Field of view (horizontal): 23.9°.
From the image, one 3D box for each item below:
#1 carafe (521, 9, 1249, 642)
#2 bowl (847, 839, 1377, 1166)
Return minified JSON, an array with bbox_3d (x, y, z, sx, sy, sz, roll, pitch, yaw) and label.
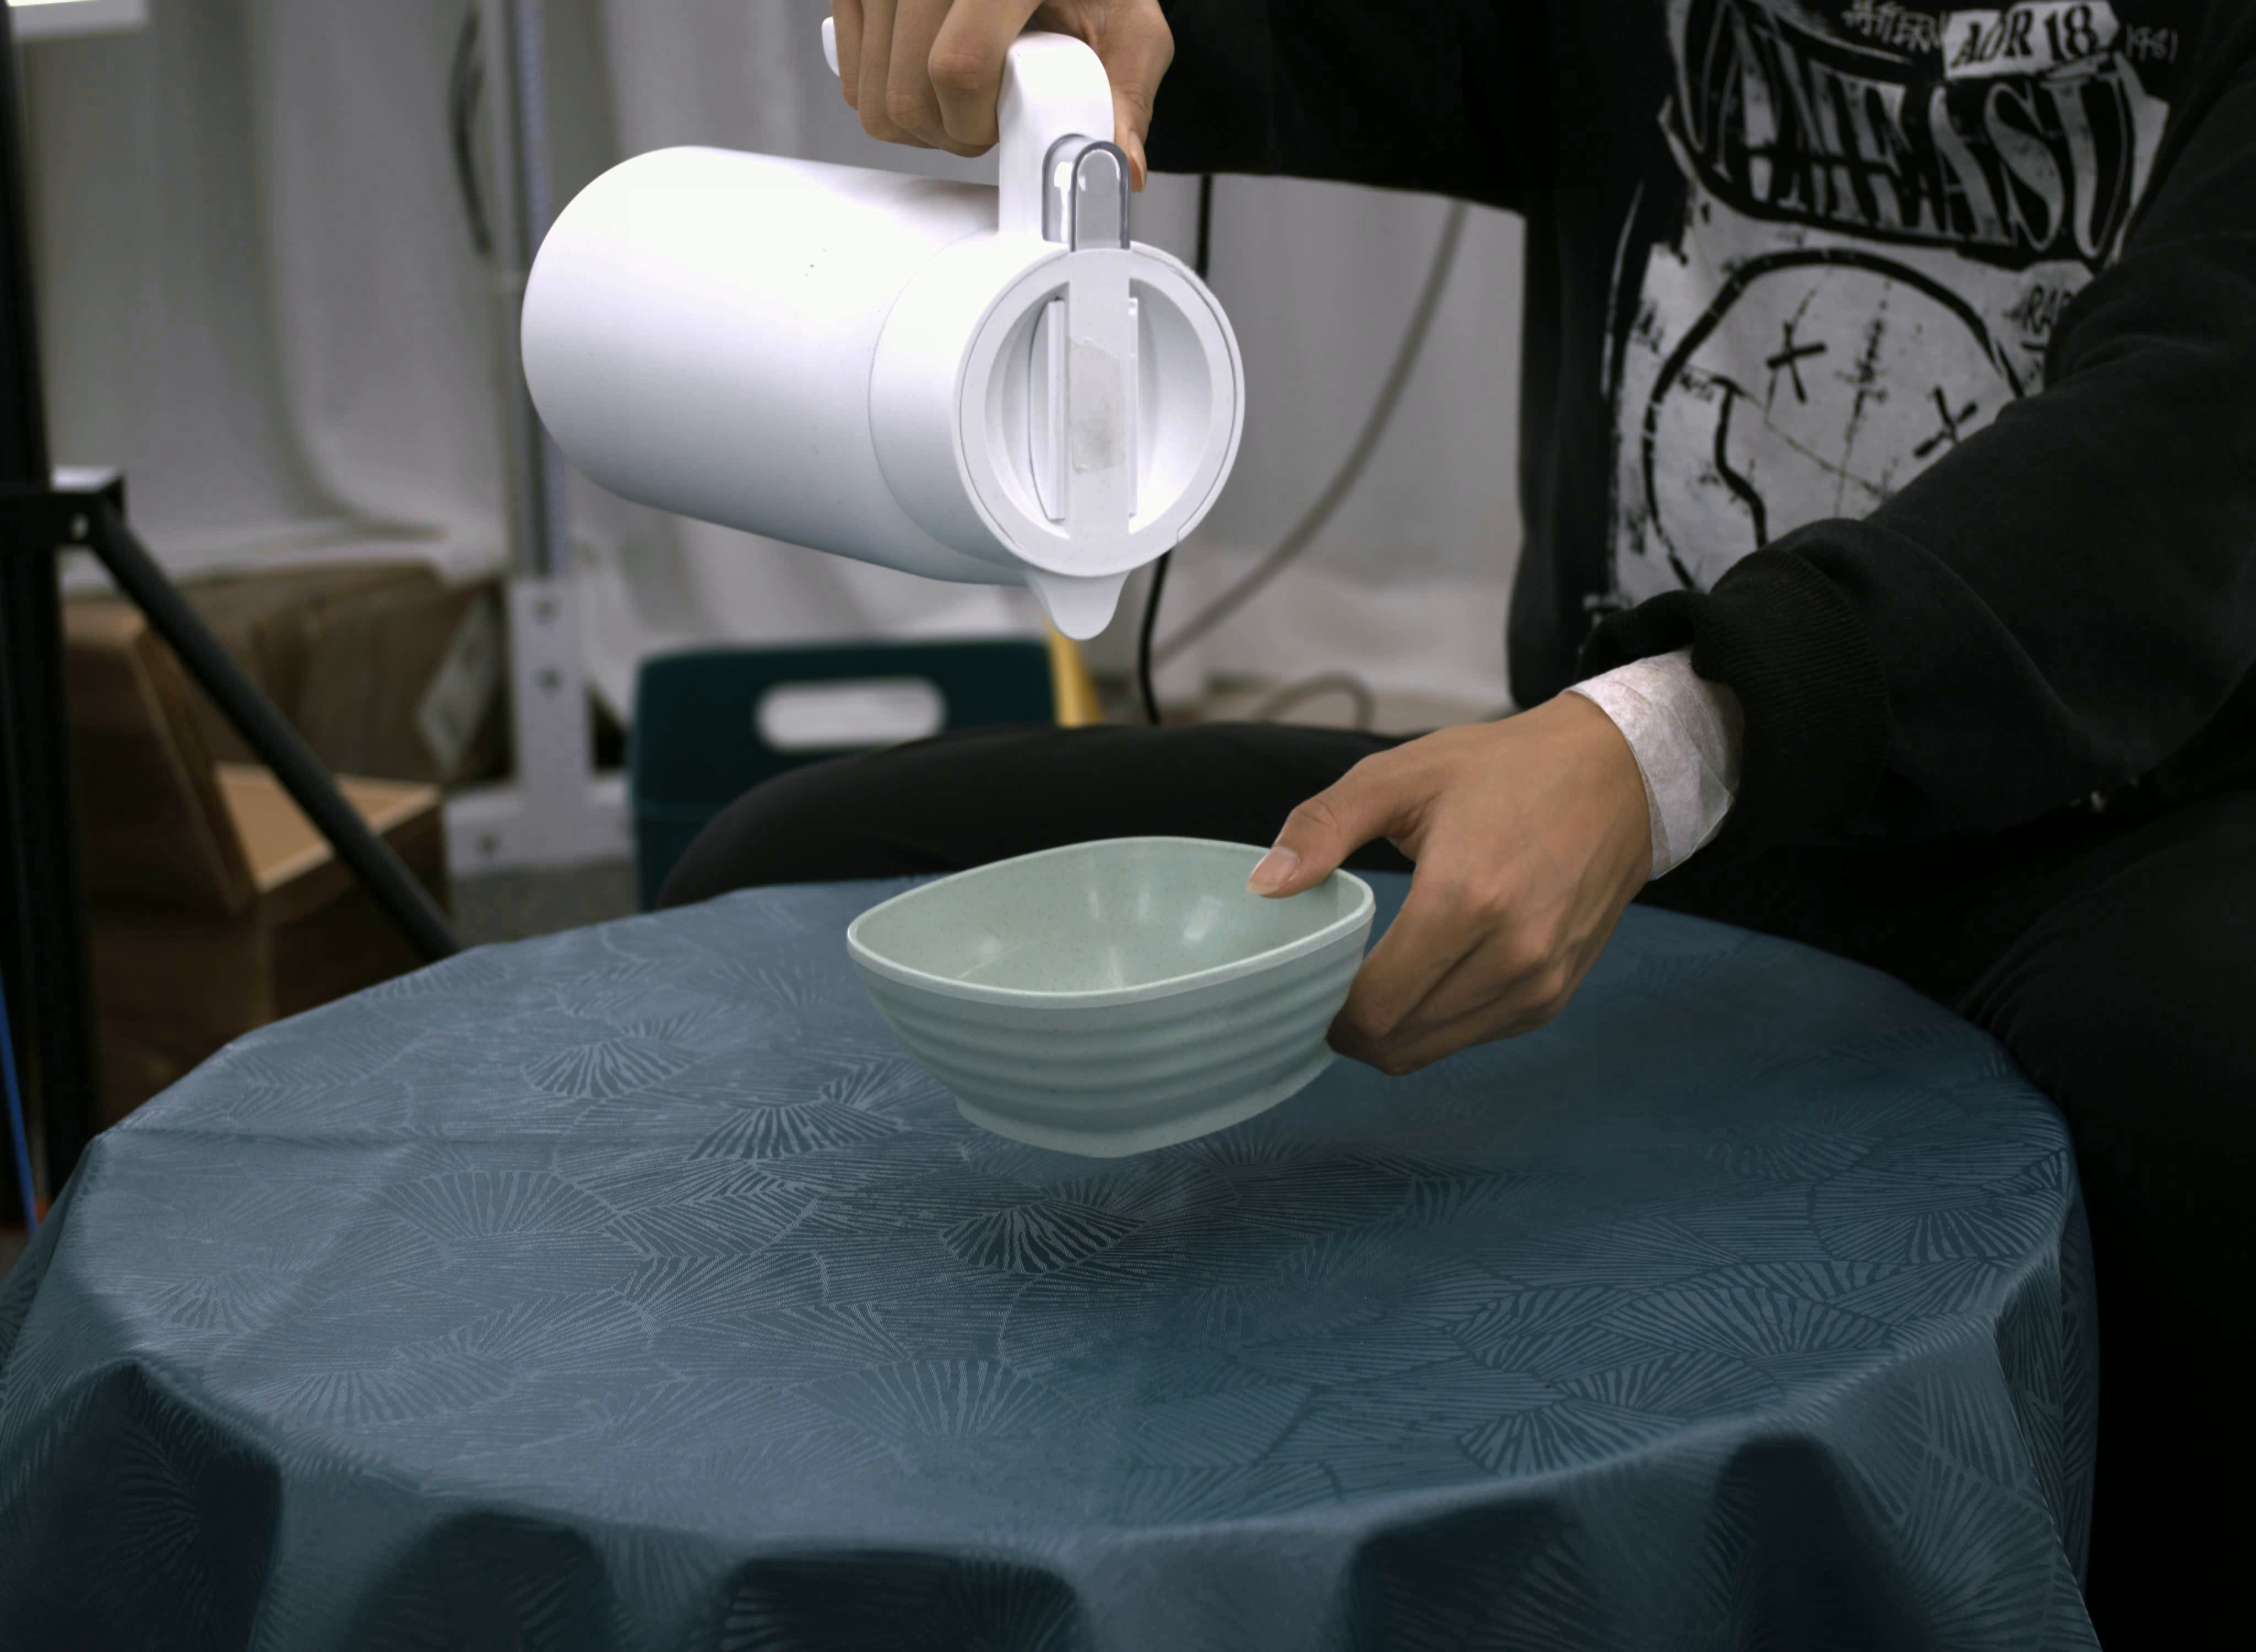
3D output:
[{"bbox_3d":[-0.078,-0.157,1.610,0.121,0.173,0.274,-7,13,-29],"label":"carafe"},{"bbox_3d":[-0.003,0.053,1.511,0.151,0.058,0.152,-5,16,0],"label":"bowl"}]
